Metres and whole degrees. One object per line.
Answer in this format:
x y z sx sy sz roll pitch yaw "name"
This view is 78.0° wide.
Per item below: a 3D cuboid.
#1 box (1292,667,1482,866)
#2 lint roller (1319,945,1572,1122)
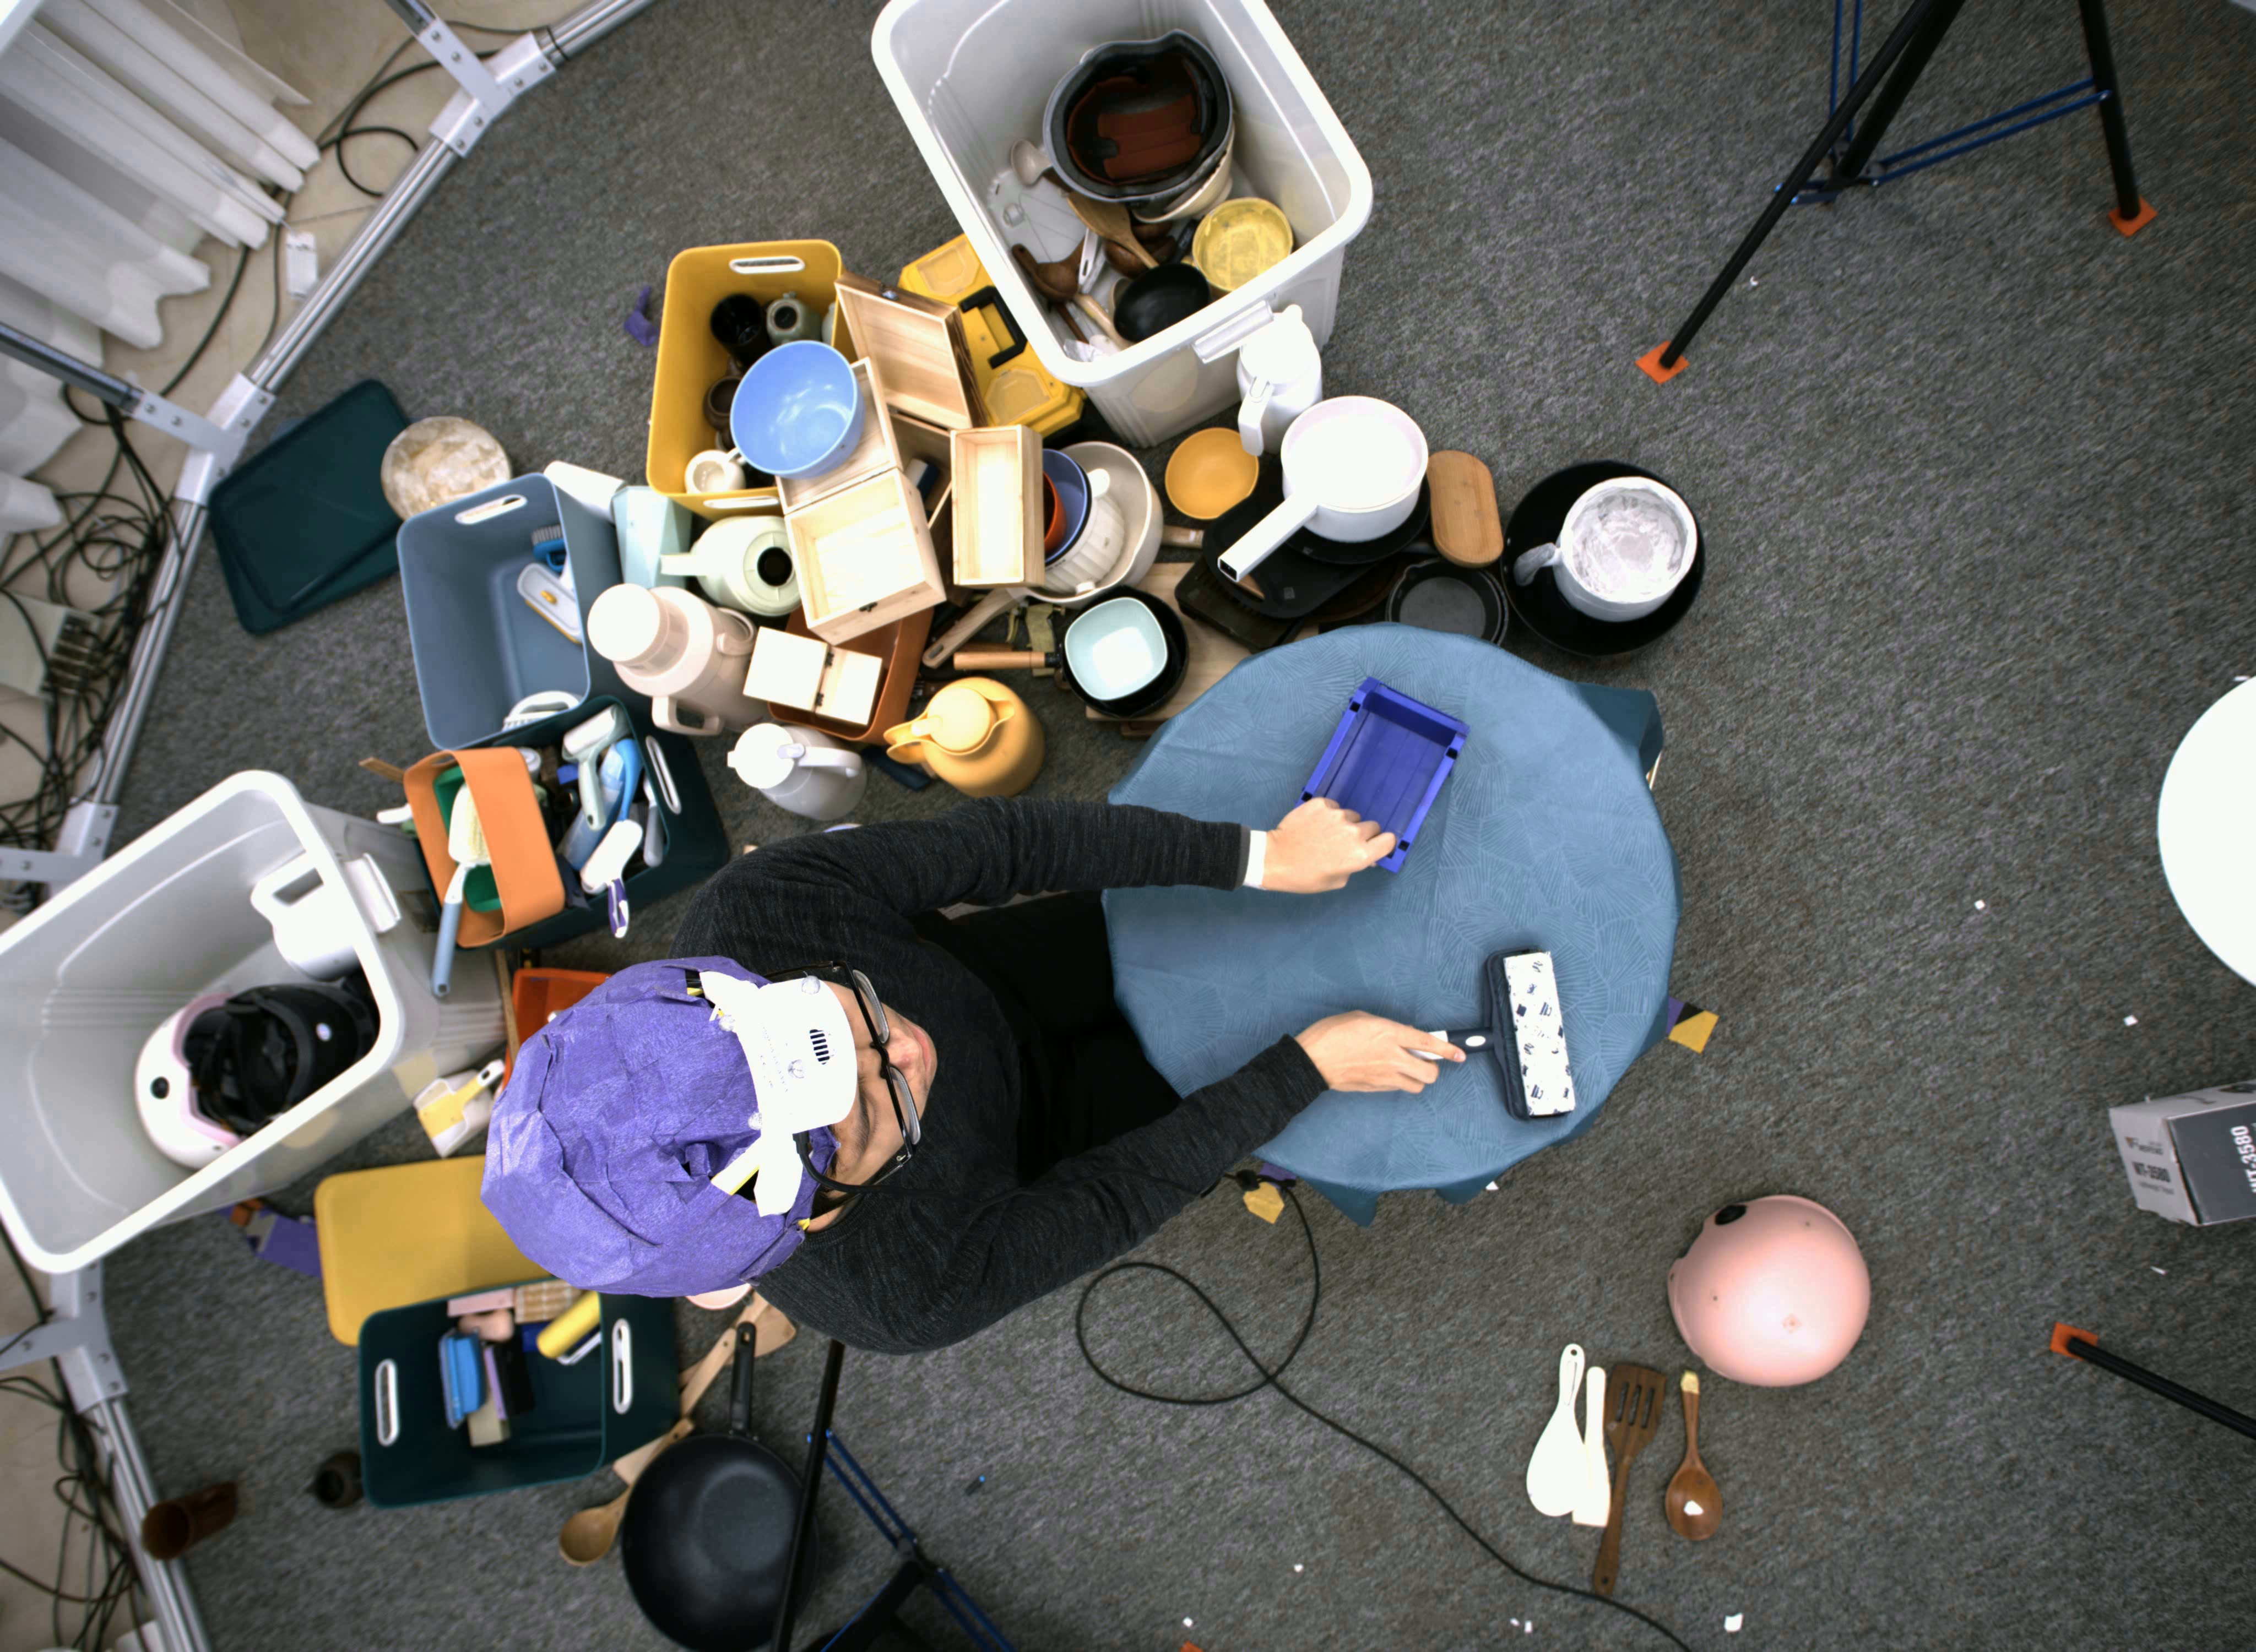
0.263 -0.065 1.403 0.124 0.082 0.180 29 93 14 "box"
0.319 0.224 1.415 0.248 0.050 0.175 -9 86 8 "lint roller"
